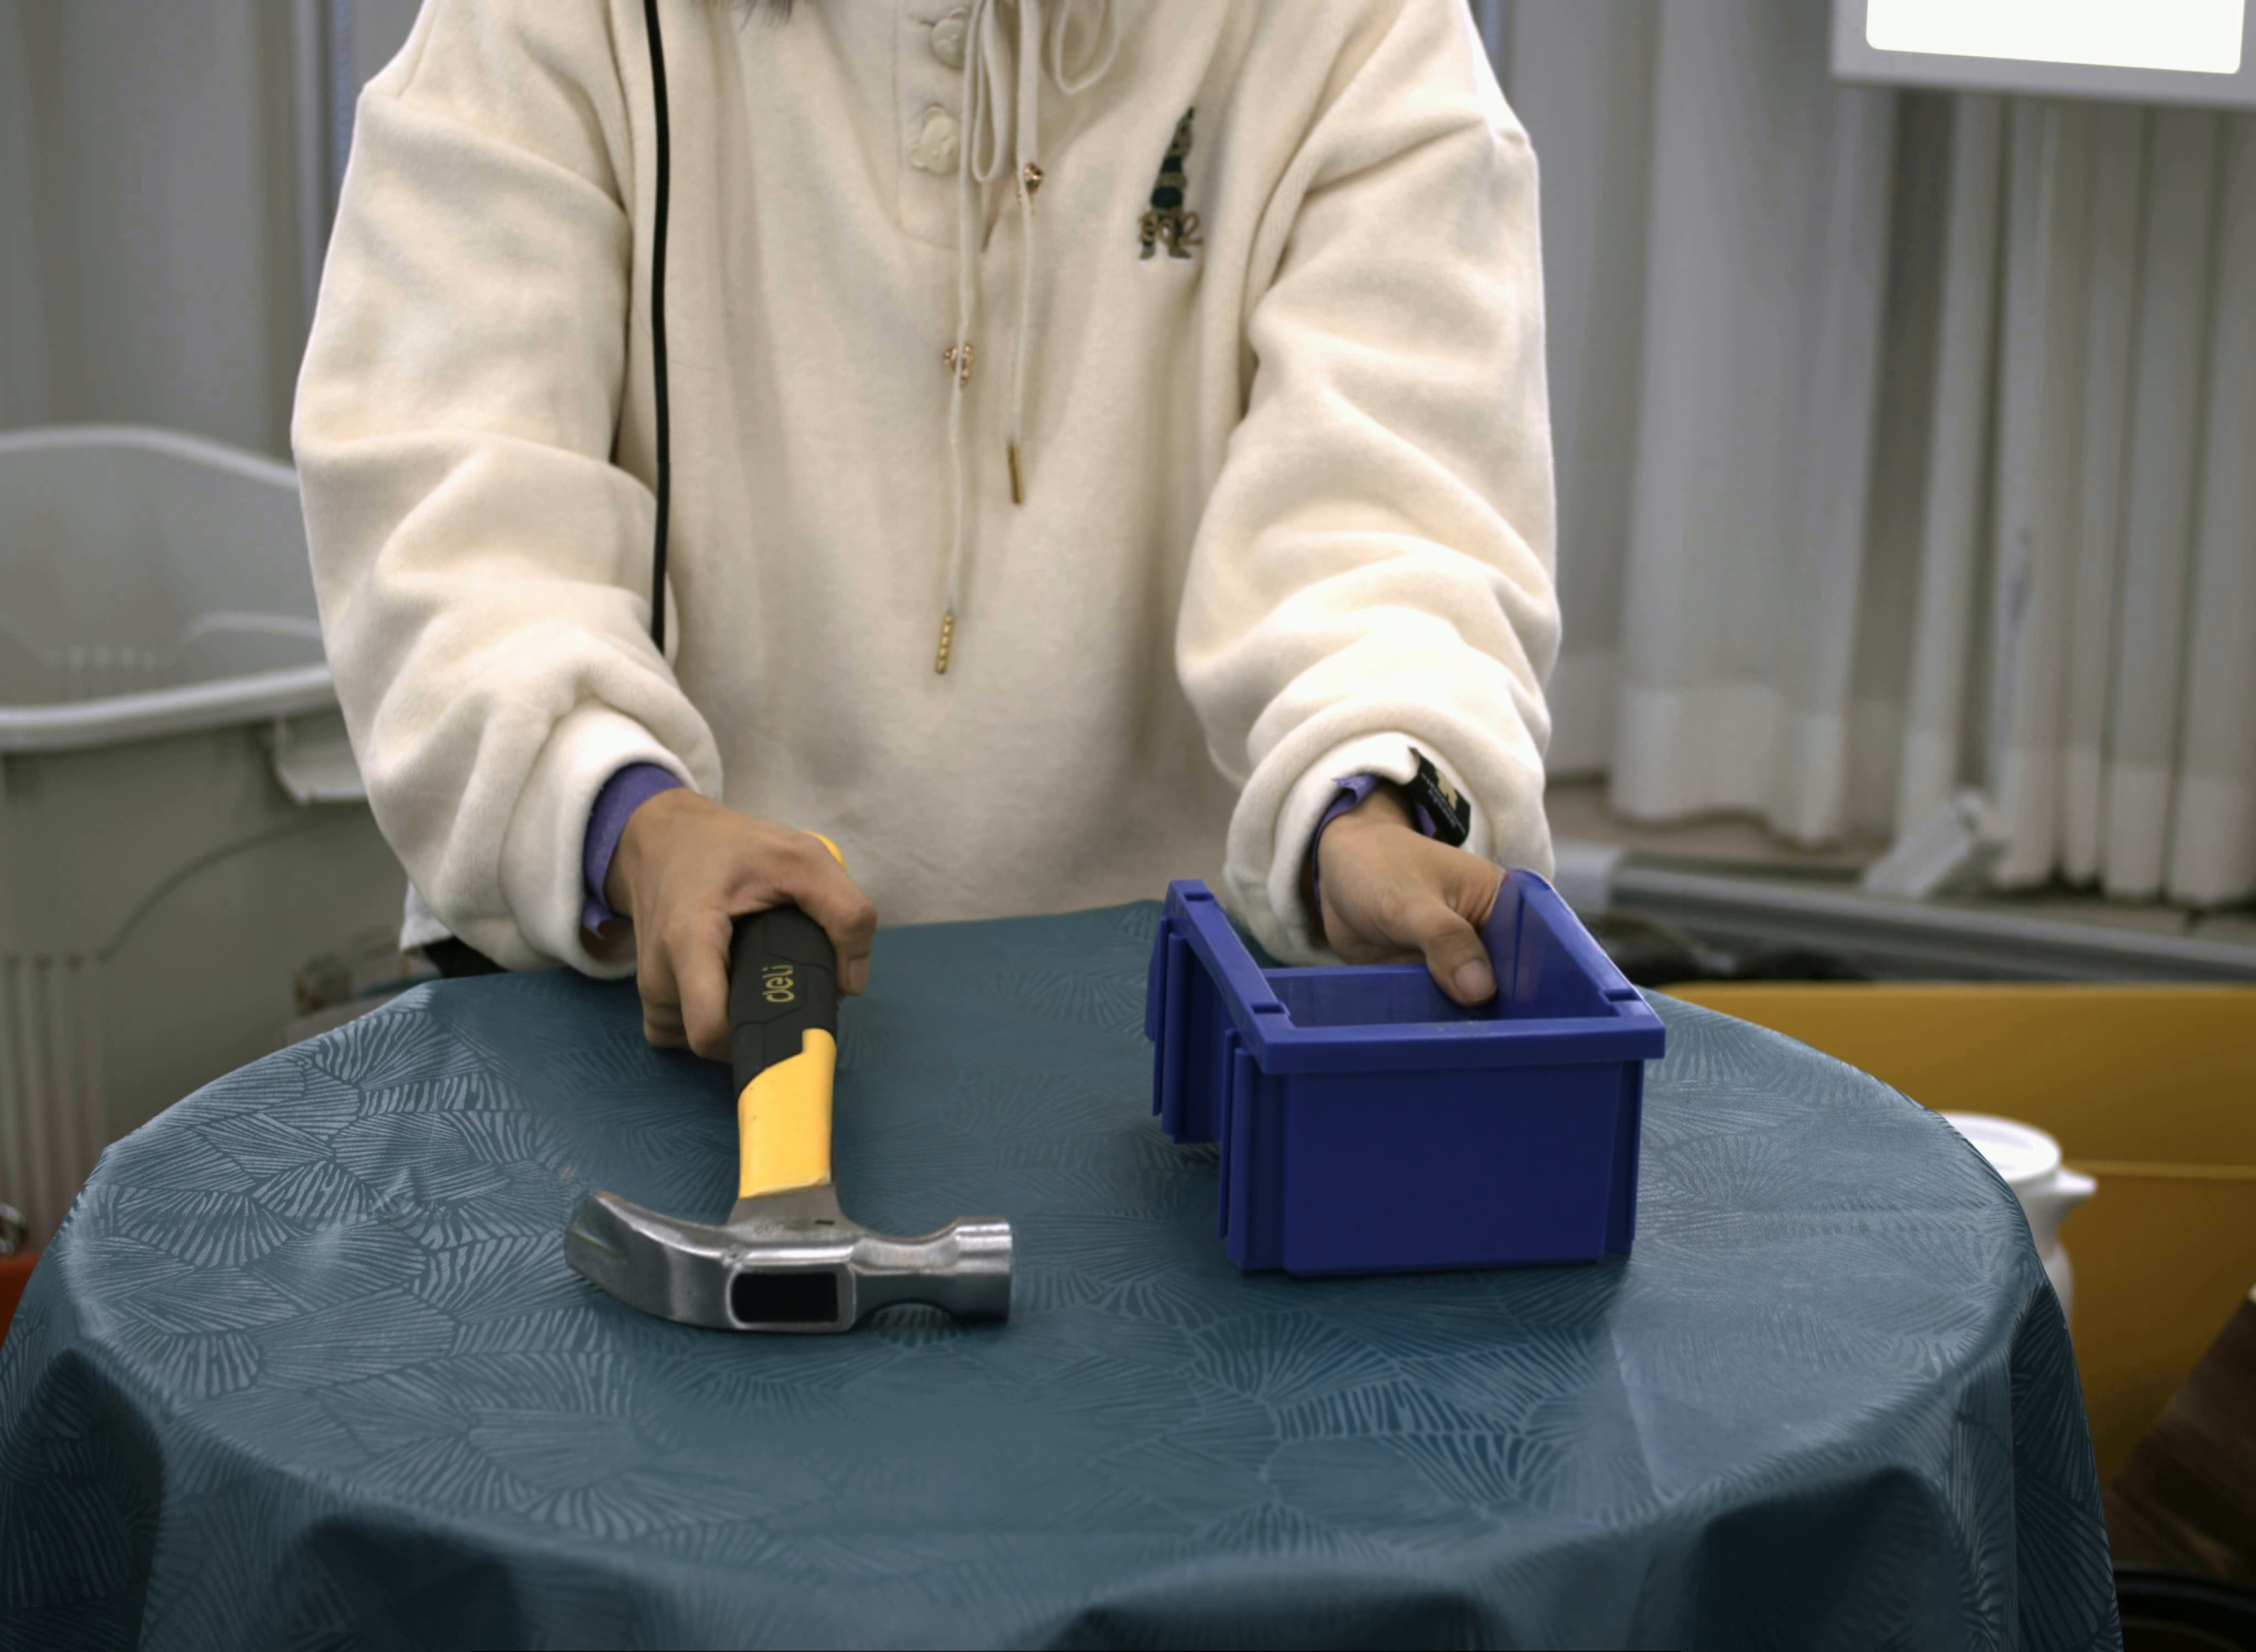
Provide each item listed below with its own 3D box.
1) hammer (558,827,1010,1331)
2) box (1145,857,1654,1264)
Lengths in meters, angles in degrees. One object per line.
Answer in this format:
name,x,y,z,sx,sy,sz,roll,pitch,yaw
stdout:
hammer,-0.106,0.071,1.647,0.131,0.032,0.336,-2,22,-2
box,0.077,0.067,1.618,0.124,0.082,0.177,-1,20,-10
